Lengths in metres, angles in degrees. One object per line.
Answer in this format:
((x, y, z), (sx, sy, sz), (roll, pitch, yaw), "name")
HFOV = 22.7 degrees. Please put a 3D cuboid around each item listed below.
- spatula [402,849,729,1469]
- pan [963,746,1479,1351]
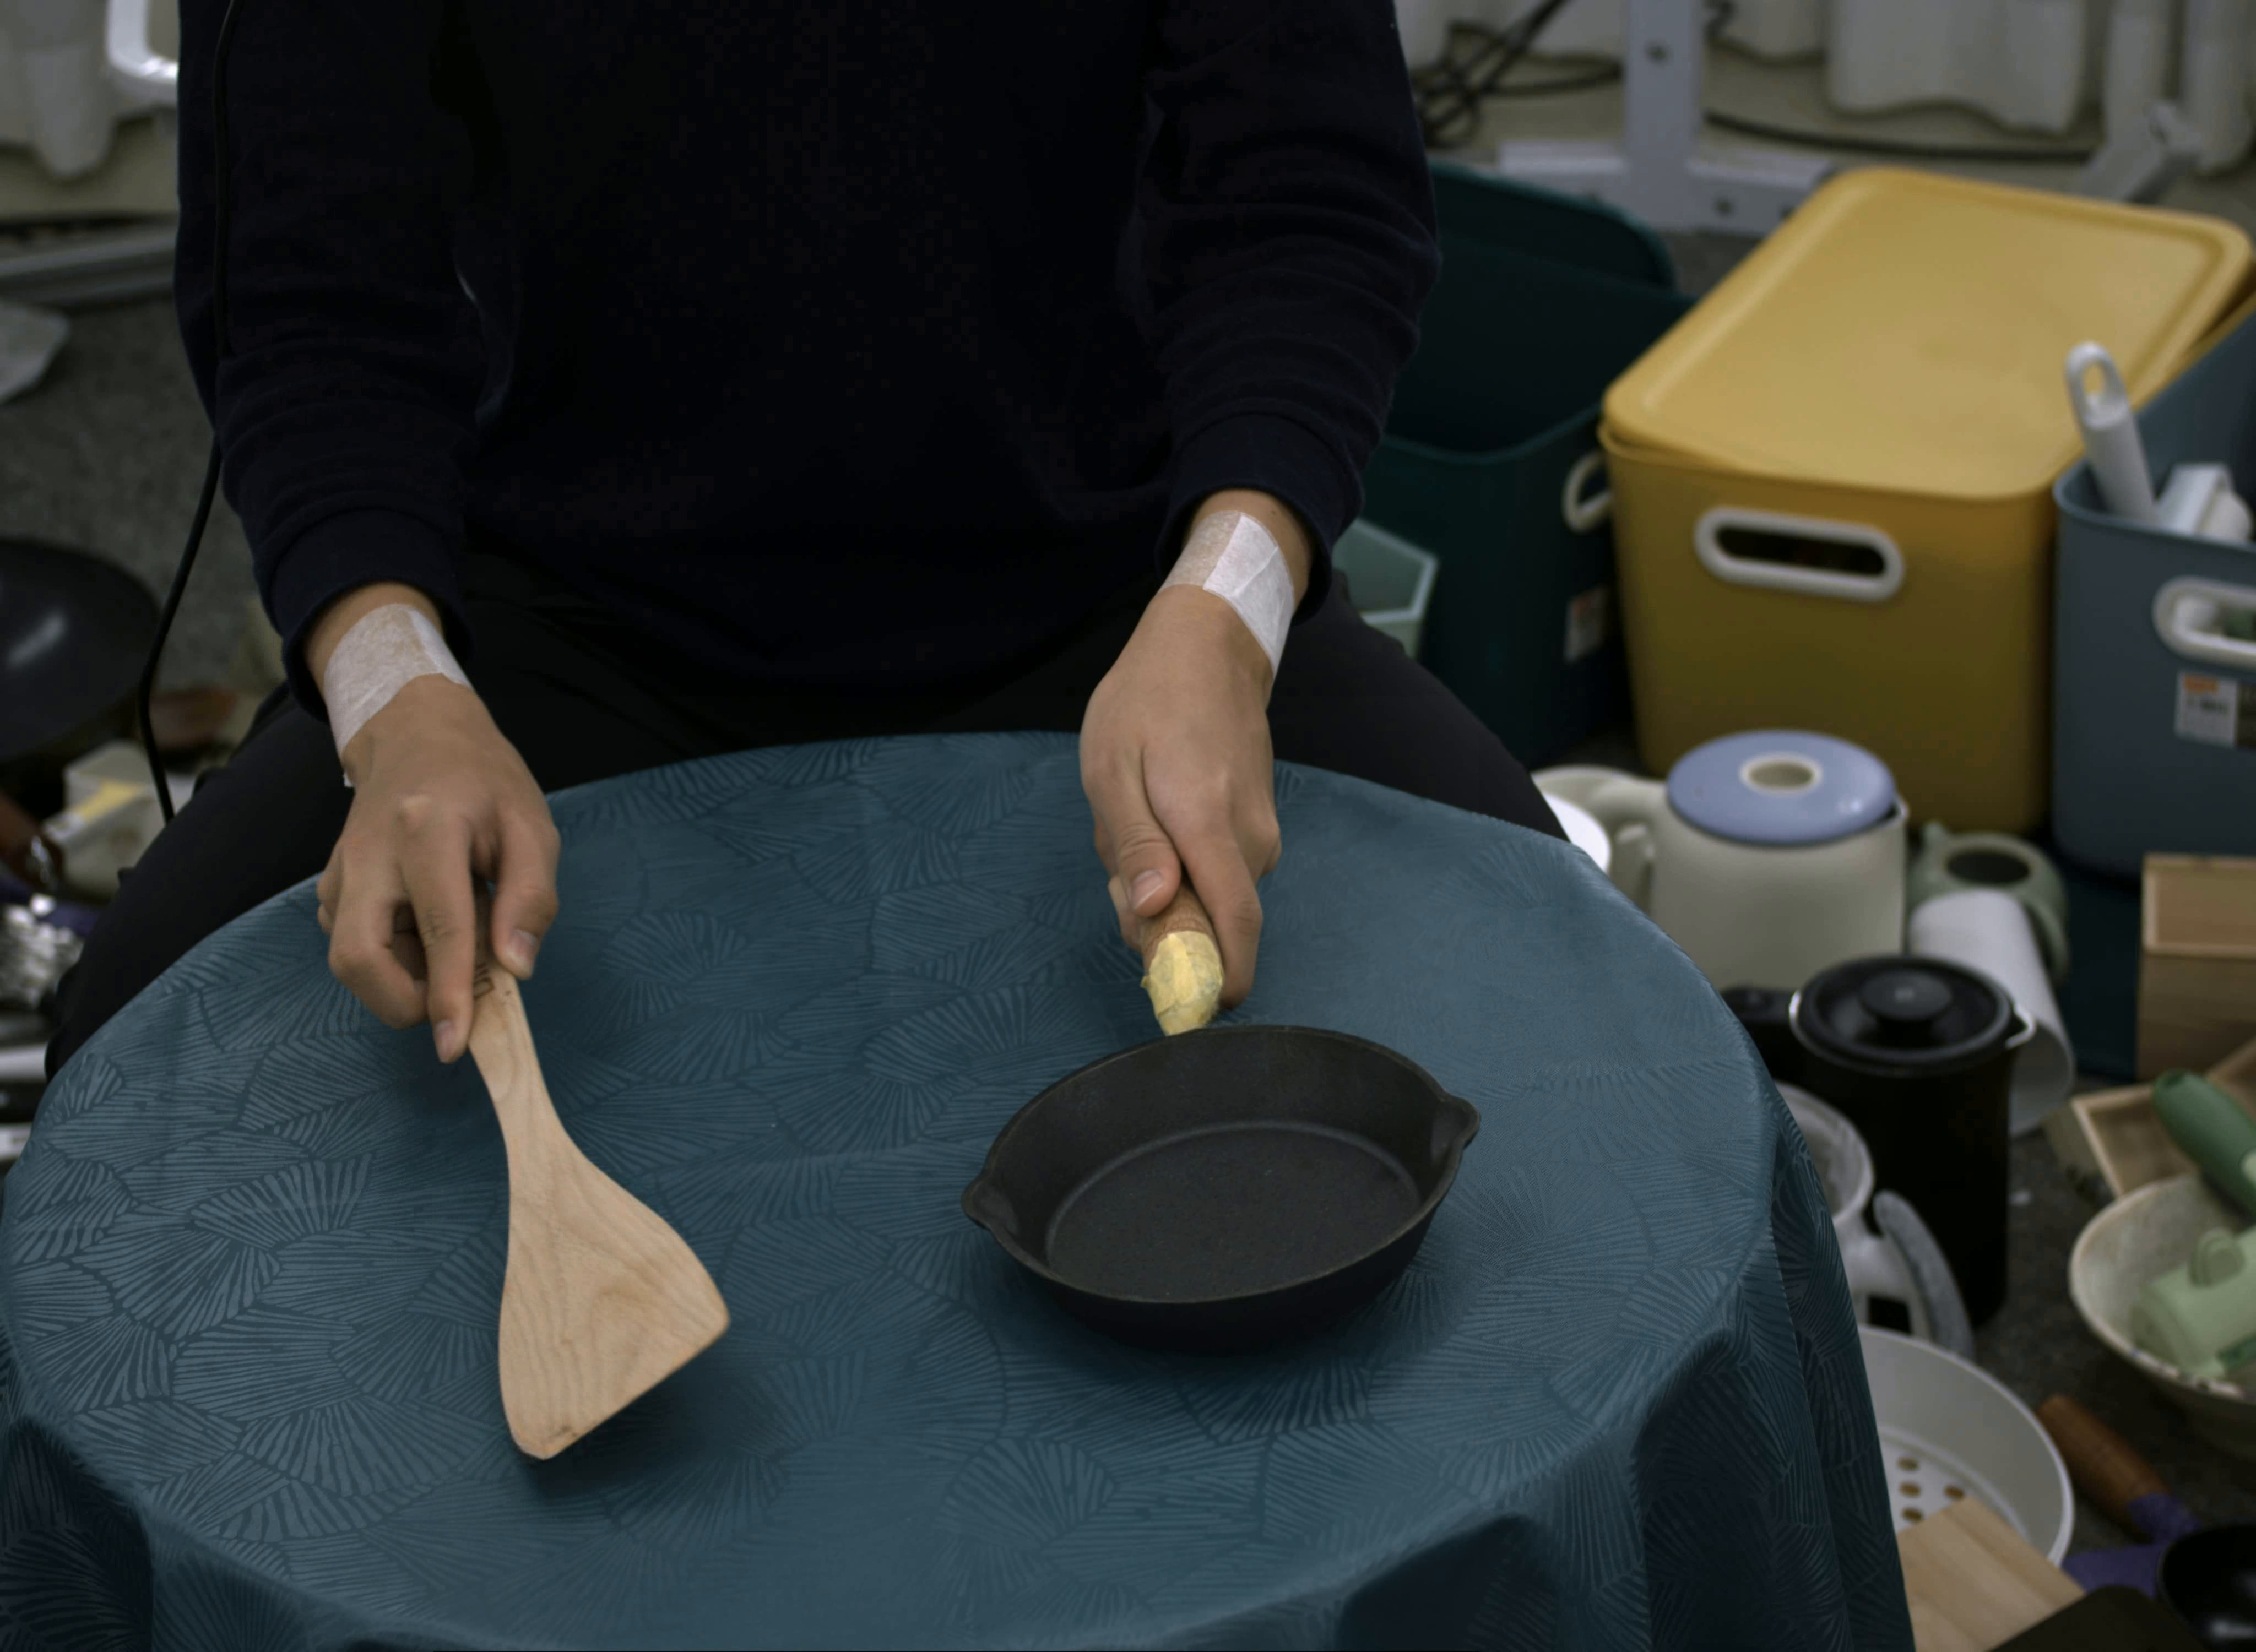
((-0.198, 0.096, 1.842), (0.080, 0.016, 0.331), (-31, 37, 1), "spatula")
((0.026, 0.071, 1.887), (0.168, 0.049, 0.329), (-8, 30, 1), "pan")
